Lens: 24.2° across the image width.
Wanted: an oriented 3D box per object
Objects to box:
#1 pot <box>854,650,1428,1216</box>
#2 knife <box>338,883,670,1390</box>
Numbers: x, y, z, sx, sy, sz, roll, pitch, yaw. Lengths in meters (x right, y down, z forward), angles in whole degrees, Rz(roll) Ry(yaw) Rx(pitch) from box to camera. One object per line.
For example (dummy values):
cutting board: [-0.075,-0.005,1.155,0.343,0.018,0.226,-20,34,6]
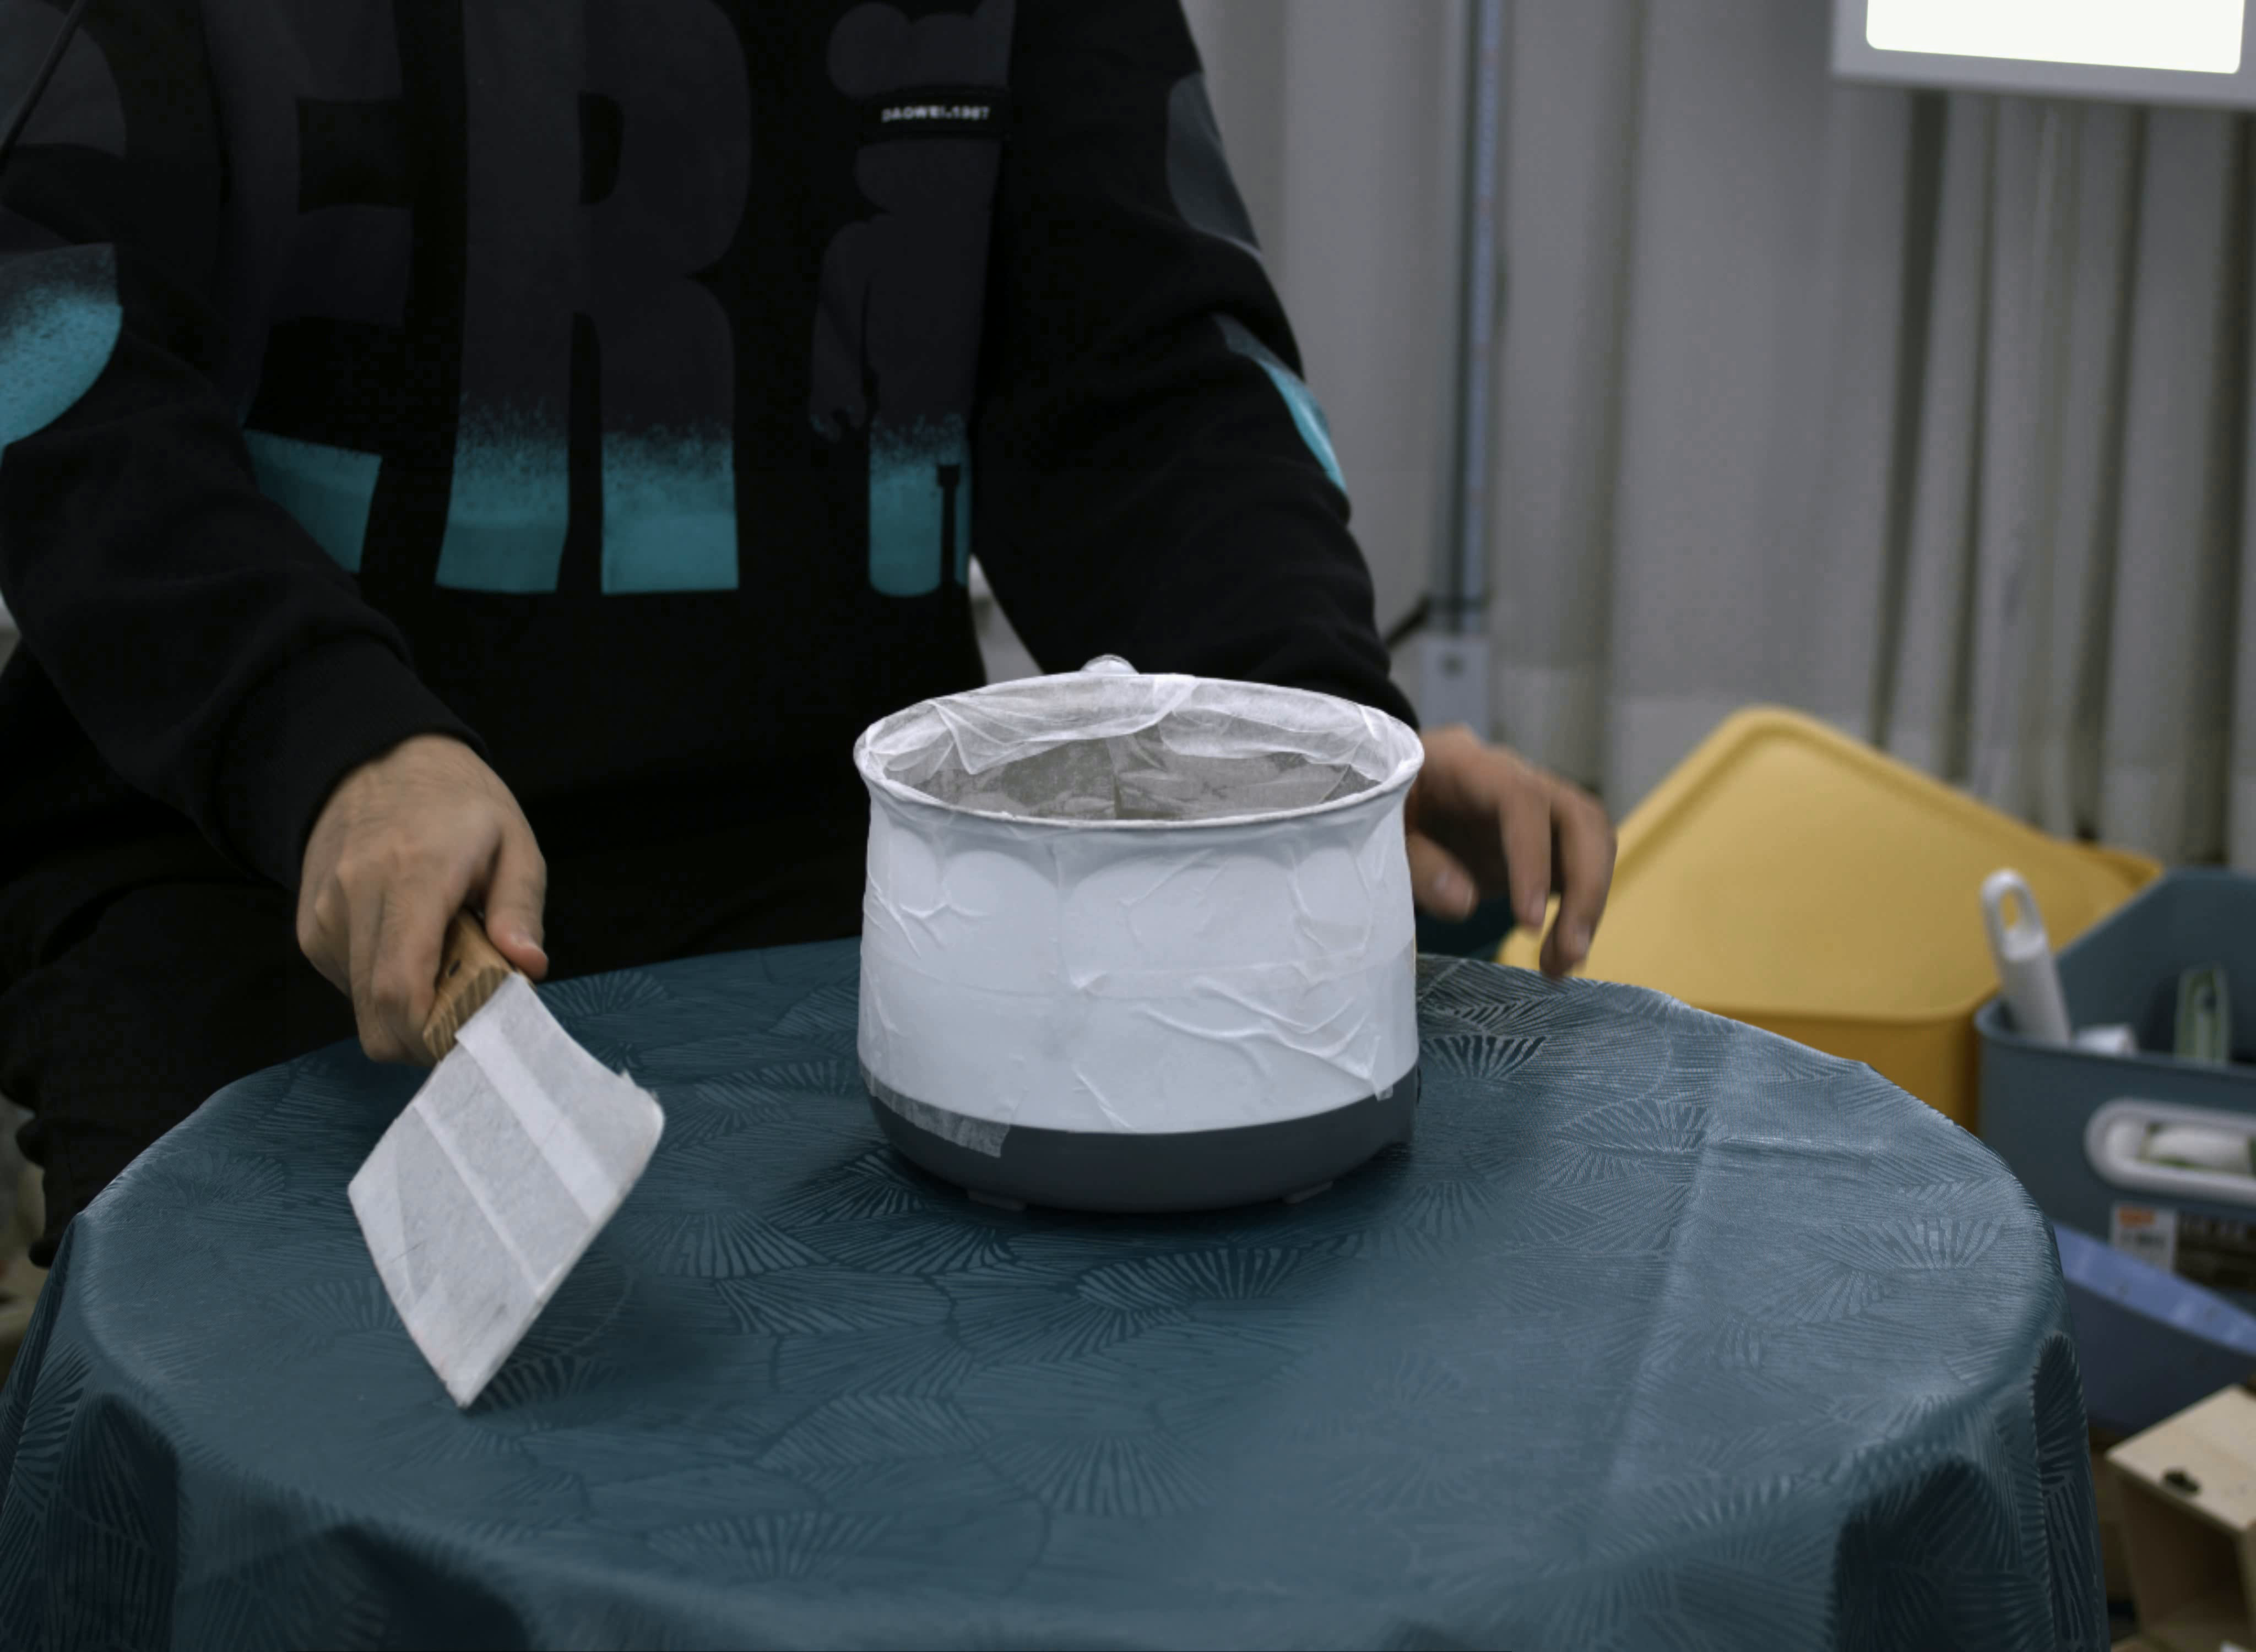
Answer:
pot: [0.000,0.029,1.666,0.178,0.138,0.232,-1,17,-7]
knife: [-0.197,0.078,1.576,0.022,0.114,0.312,38,4,-24]
